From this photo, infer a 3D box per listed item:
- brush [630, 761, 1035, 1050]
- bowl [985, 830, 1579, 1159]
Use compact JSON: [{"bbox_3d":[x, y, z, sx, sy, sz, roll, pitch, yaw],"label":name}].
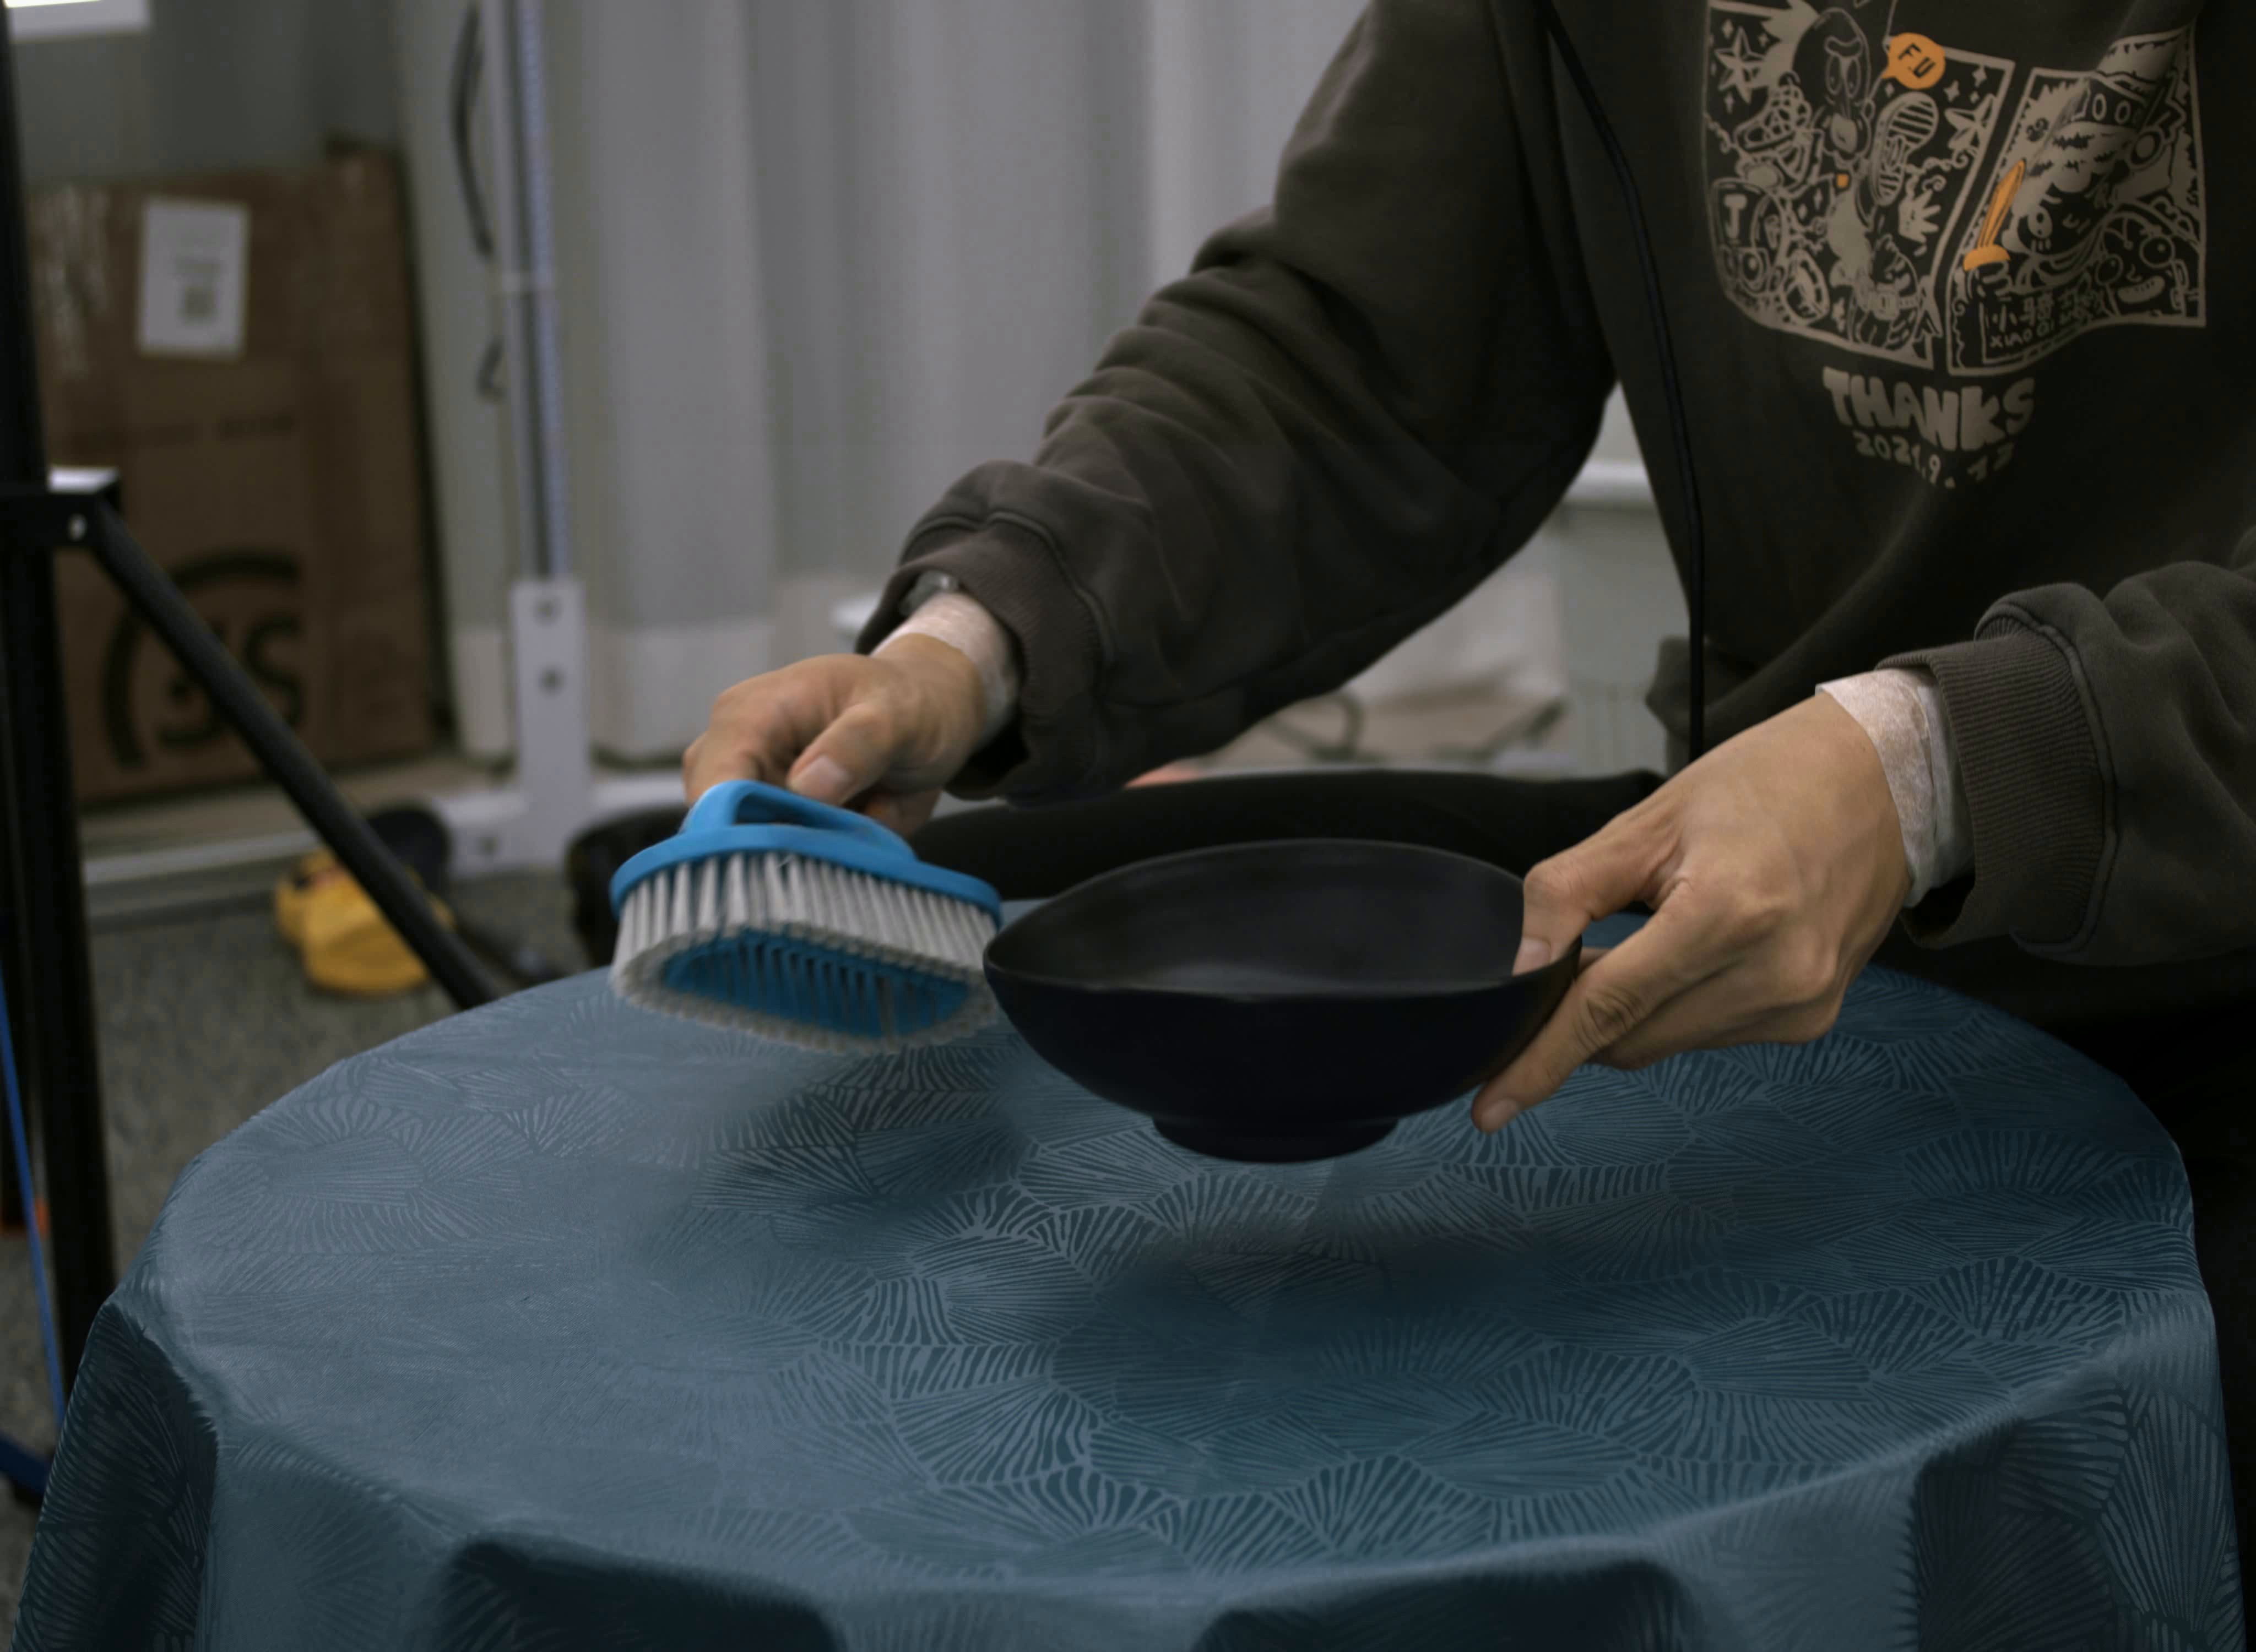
[{"bbox_3d":[-0.091,0.018,1.609,0.138,0.064,0.085,17,-39,-41],"label":"brush"},{"bbox_3d":[0.043,0.053,1.494,0.171,0.066,0.136,1,17,13],"label":"bowl"}]
